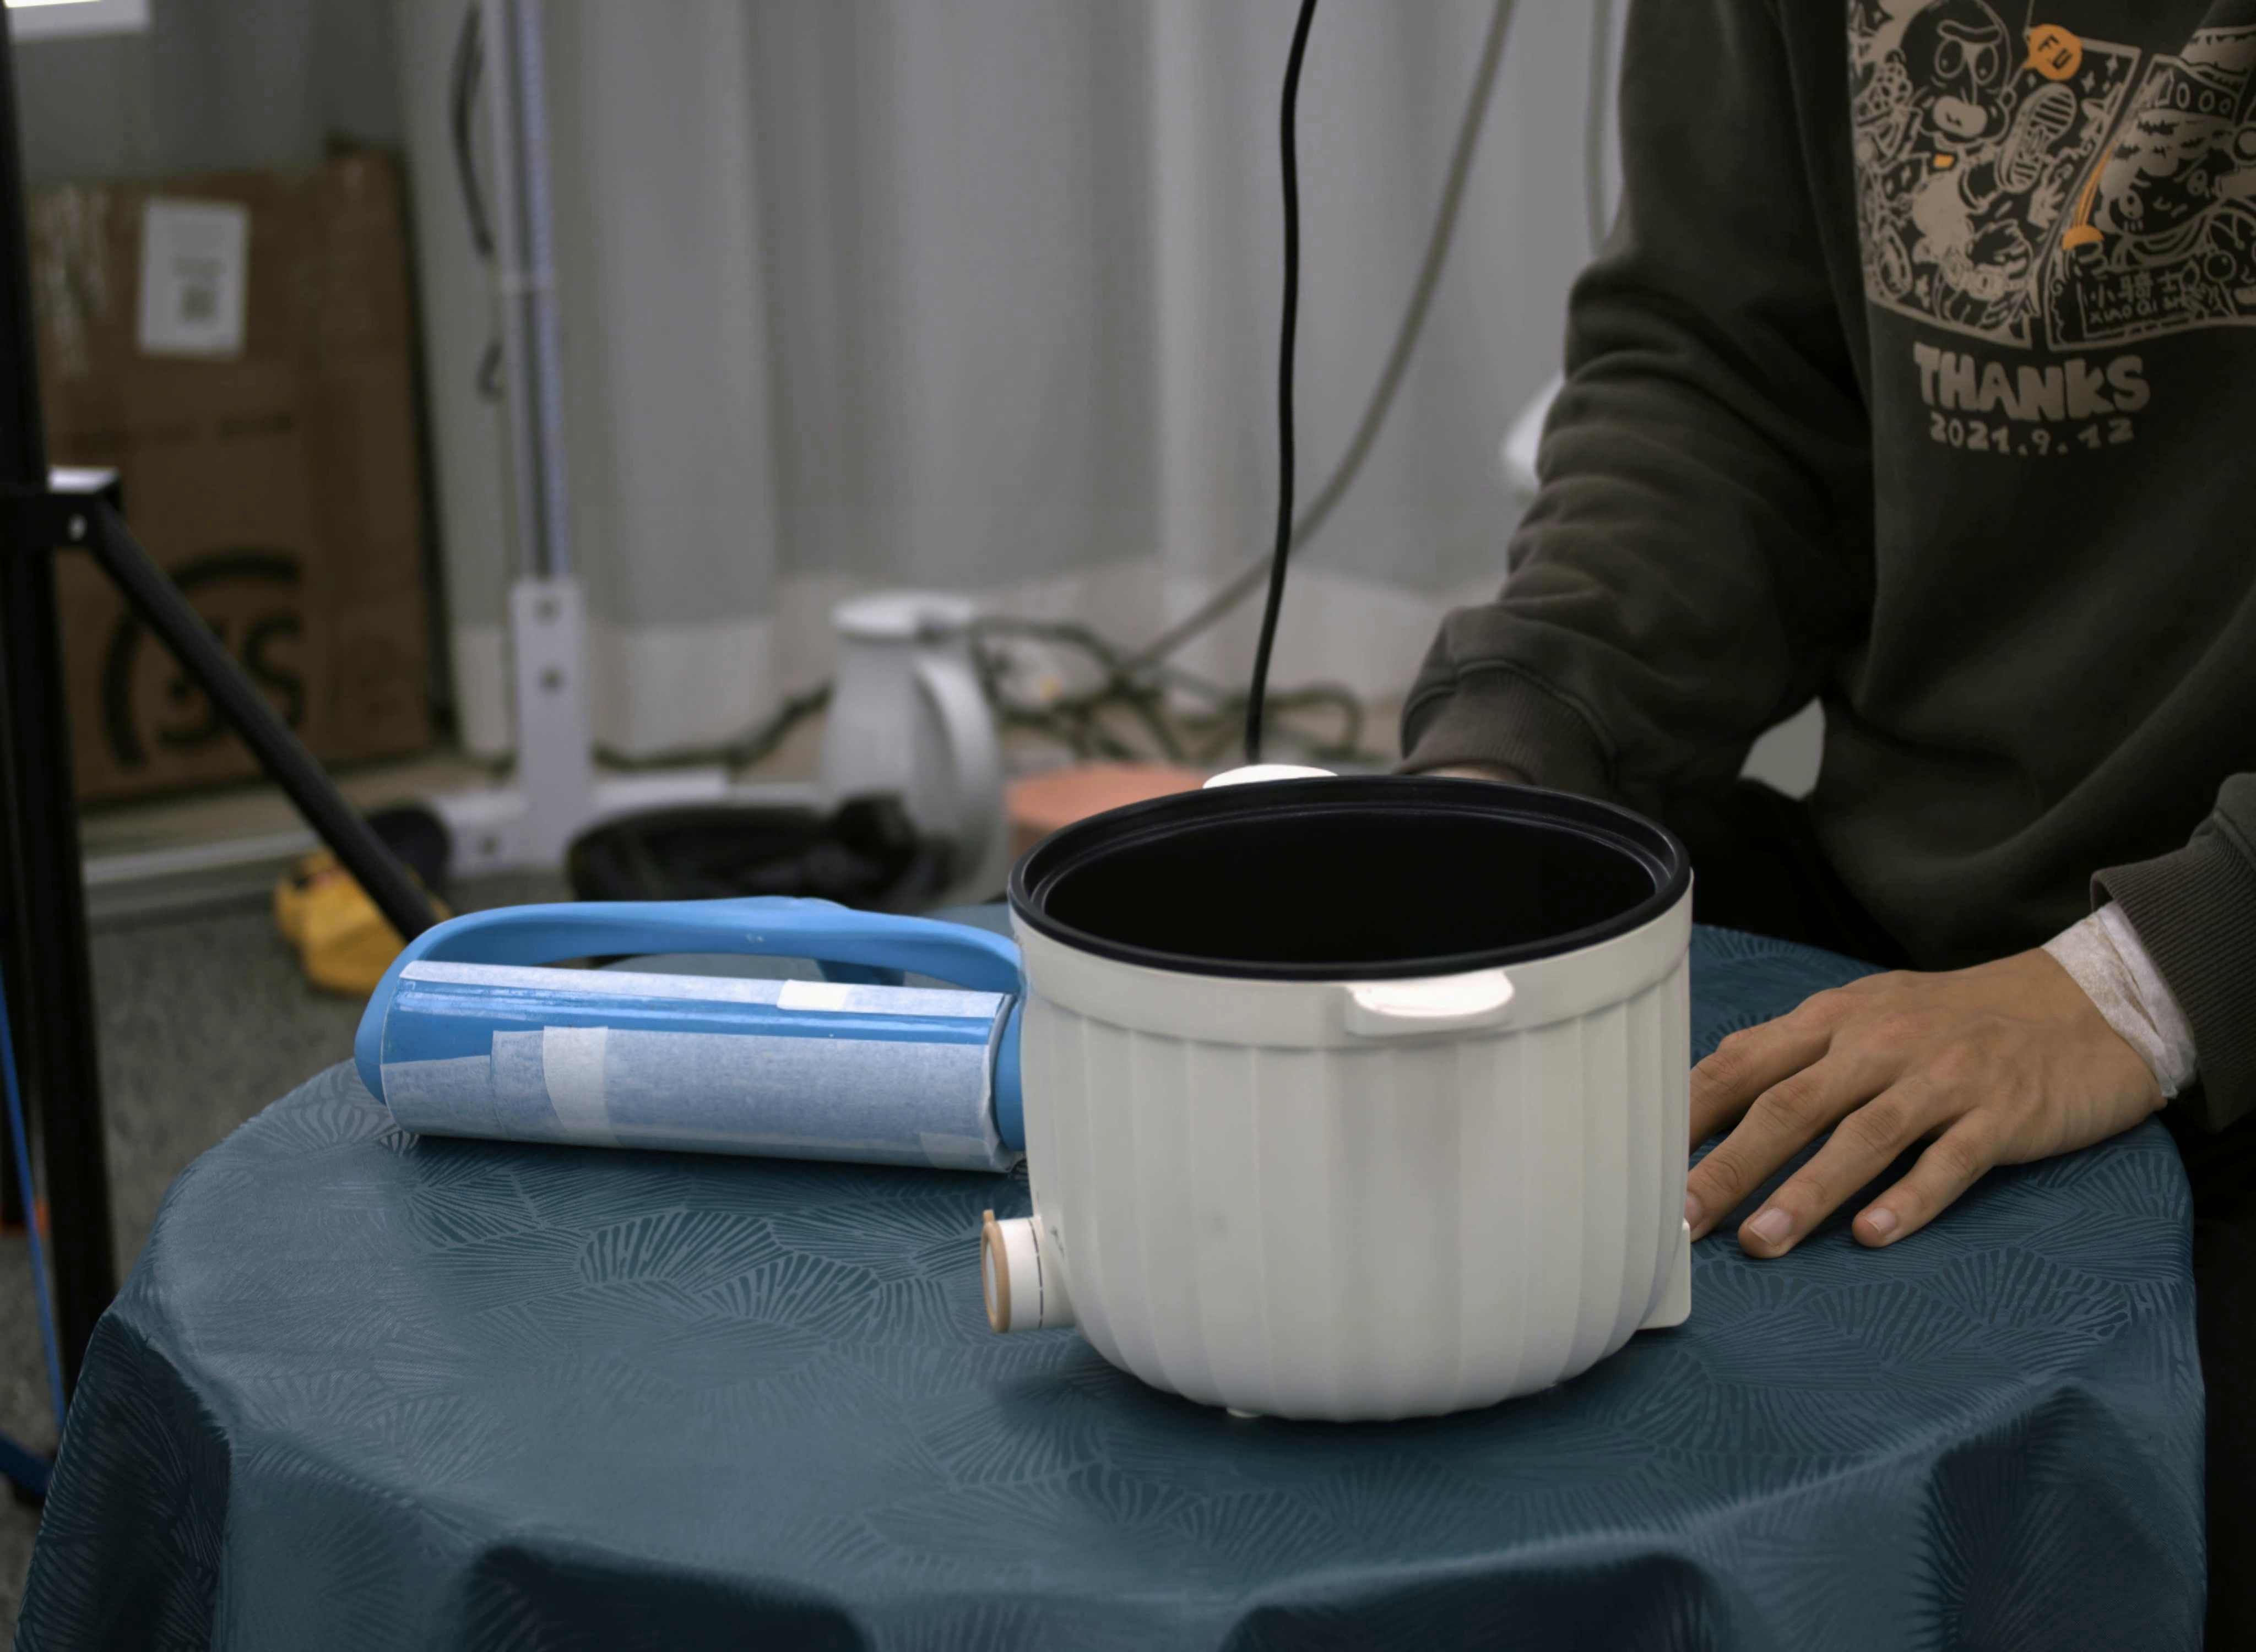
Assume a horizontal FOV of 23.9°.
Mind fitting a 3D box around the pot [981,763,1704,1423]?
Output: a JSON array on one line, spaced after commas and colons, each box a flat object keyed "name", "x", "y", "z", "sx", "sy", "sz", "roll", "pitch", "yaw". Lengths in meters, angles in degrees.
[{"name": "pot", "x": 0.057, "y": 0.075, "z": 1.415, "sx": 0.188, "sy": 0.143, "sz": 0.243, "roll": -2, "pitch": 14, "yaw": -10}]

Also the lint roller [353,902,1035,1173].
[{"name": "lint roller", "x": -0.113, "y": 0.054, "z": 1.667, "sx": 0.231, "sy": 0.068, "sz": 0.179, "roll": 1, "pitch": 17, "yaw": 16}]
